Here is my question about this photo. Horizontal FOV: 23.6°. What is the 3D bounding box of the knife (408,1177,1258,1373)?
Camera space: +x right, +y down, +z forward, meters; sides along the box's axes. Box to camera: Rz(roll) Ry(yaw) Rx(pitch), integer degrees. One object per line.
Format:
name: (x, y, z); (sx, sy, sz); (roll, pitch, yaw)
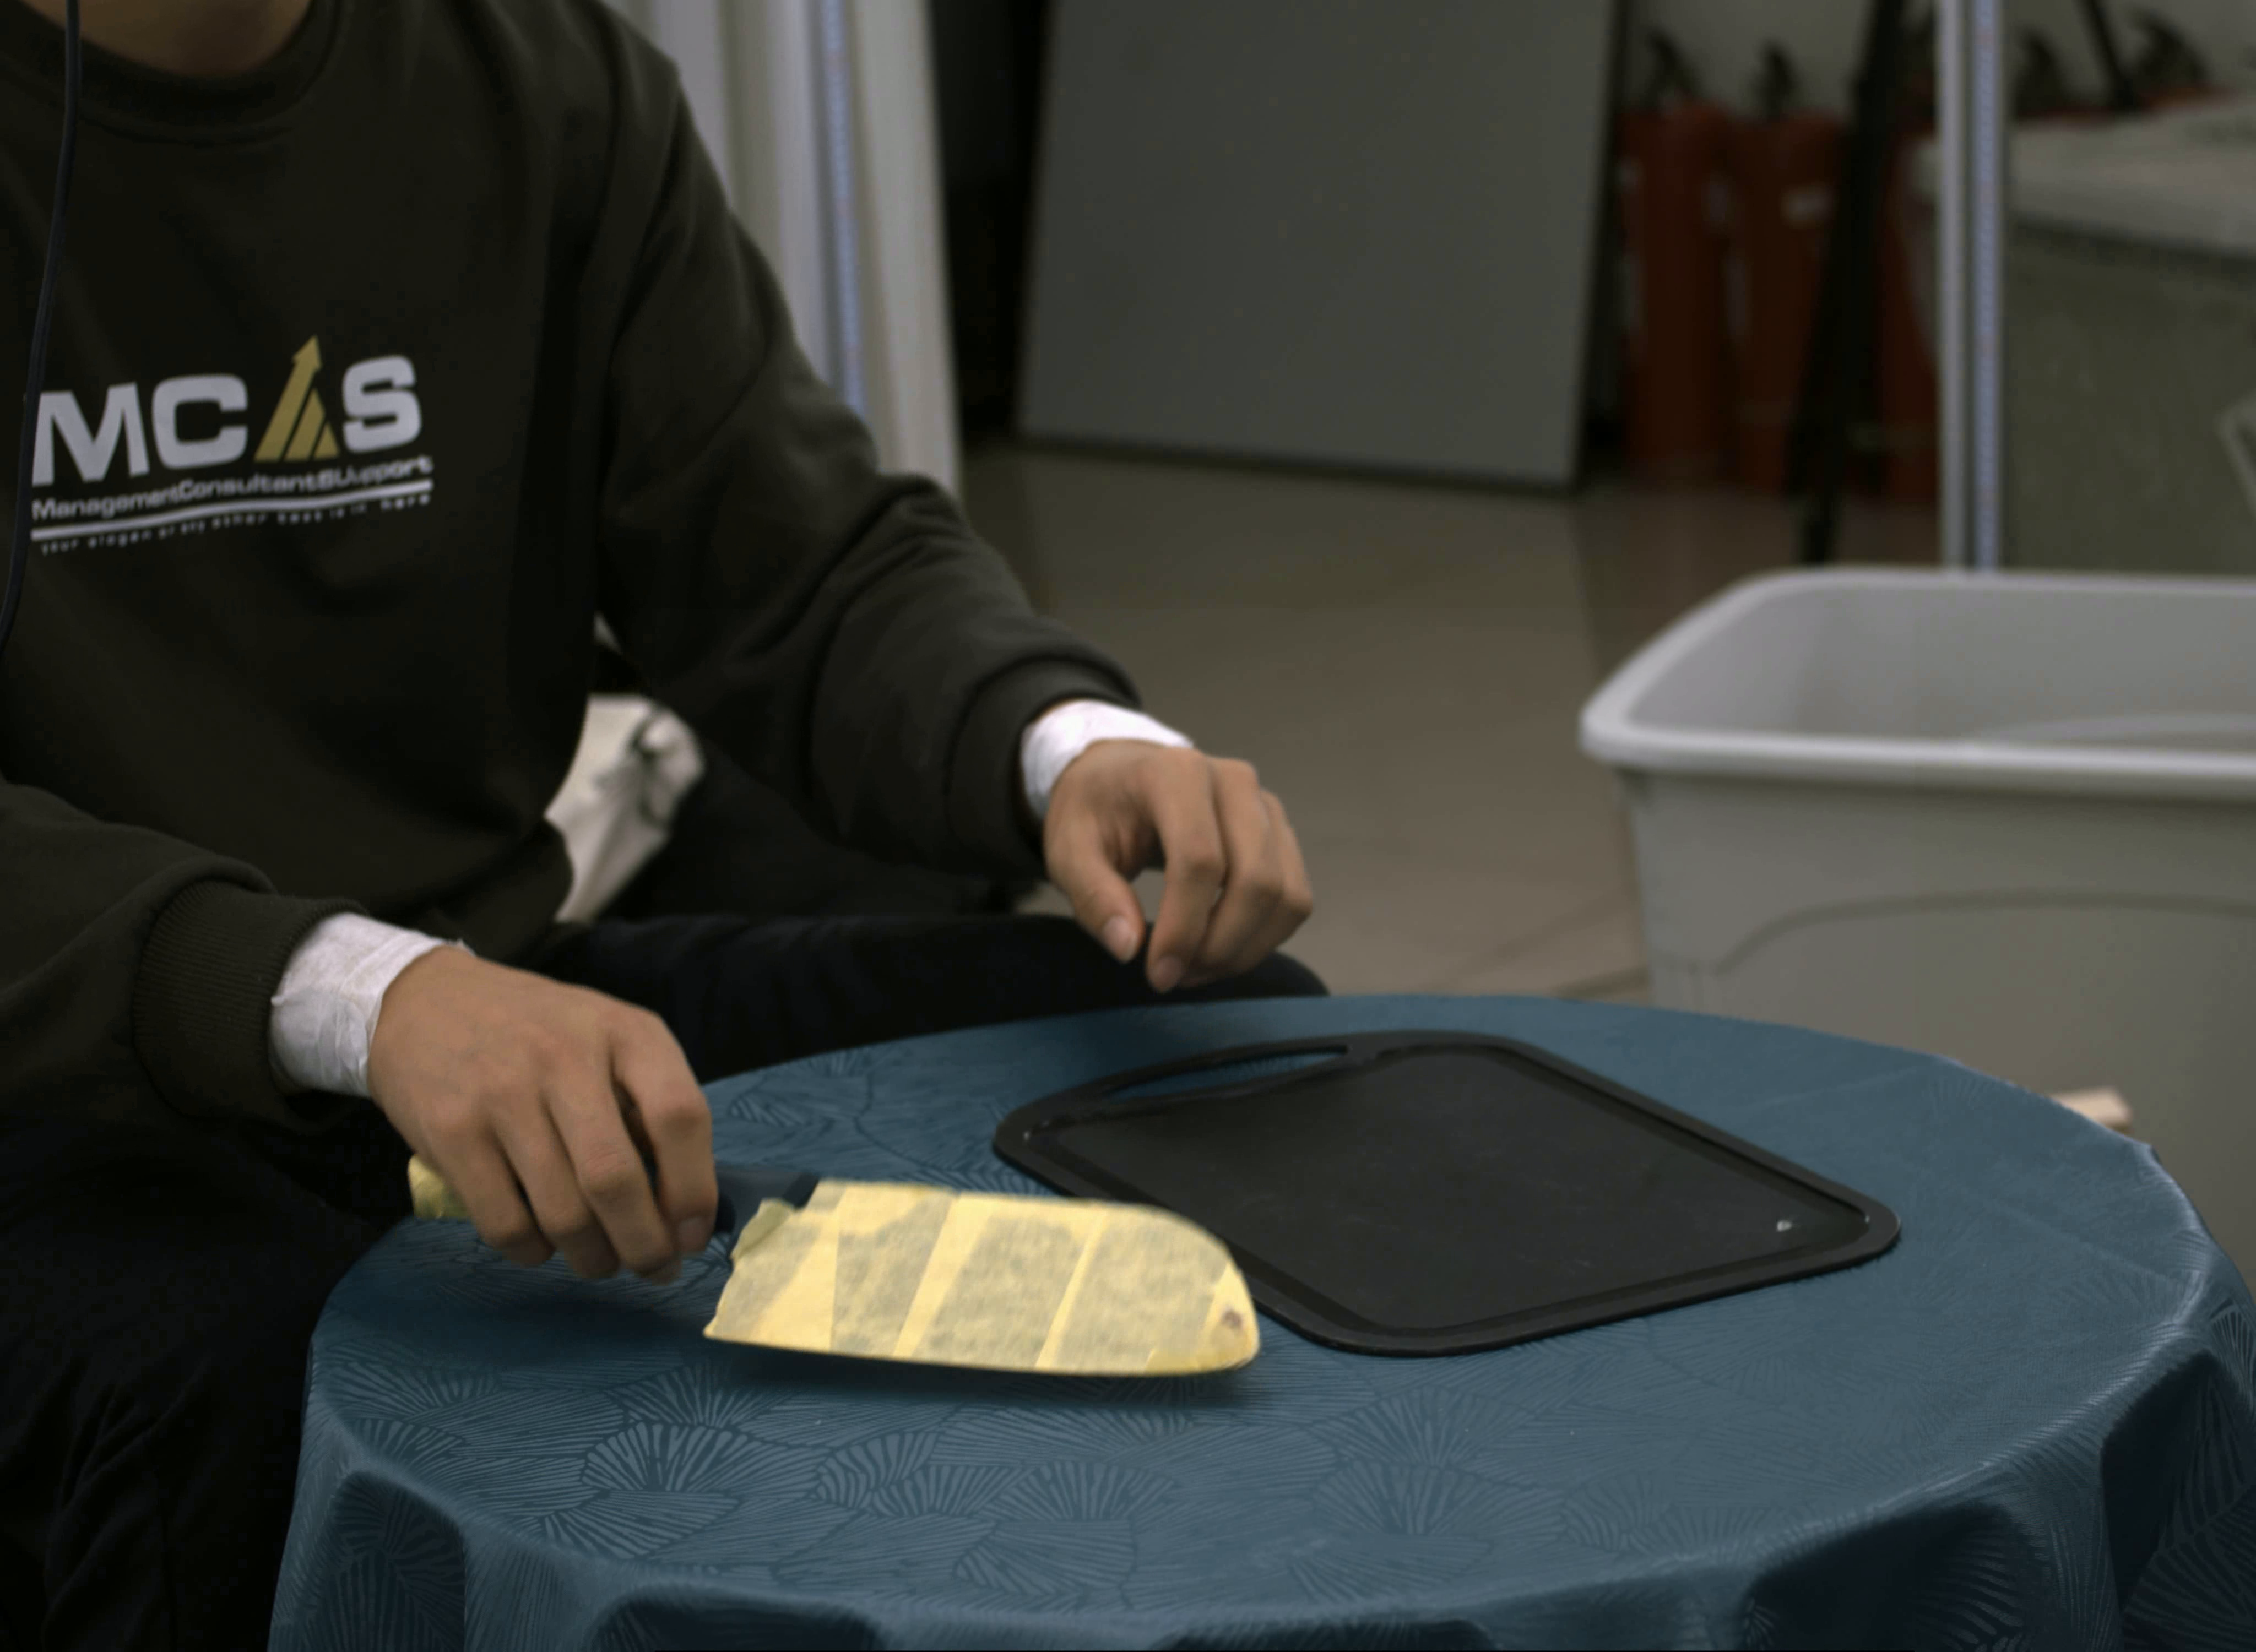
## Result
knife: (-0.094, 0.137, 1.632); (0.289, 0.027, 0.080); (4, 36, 23)

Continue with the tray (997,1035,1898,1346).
tray: (0.094, 0.113, 1.766); (0.206, 0.010, 0.329); (-10, 15, -23)
